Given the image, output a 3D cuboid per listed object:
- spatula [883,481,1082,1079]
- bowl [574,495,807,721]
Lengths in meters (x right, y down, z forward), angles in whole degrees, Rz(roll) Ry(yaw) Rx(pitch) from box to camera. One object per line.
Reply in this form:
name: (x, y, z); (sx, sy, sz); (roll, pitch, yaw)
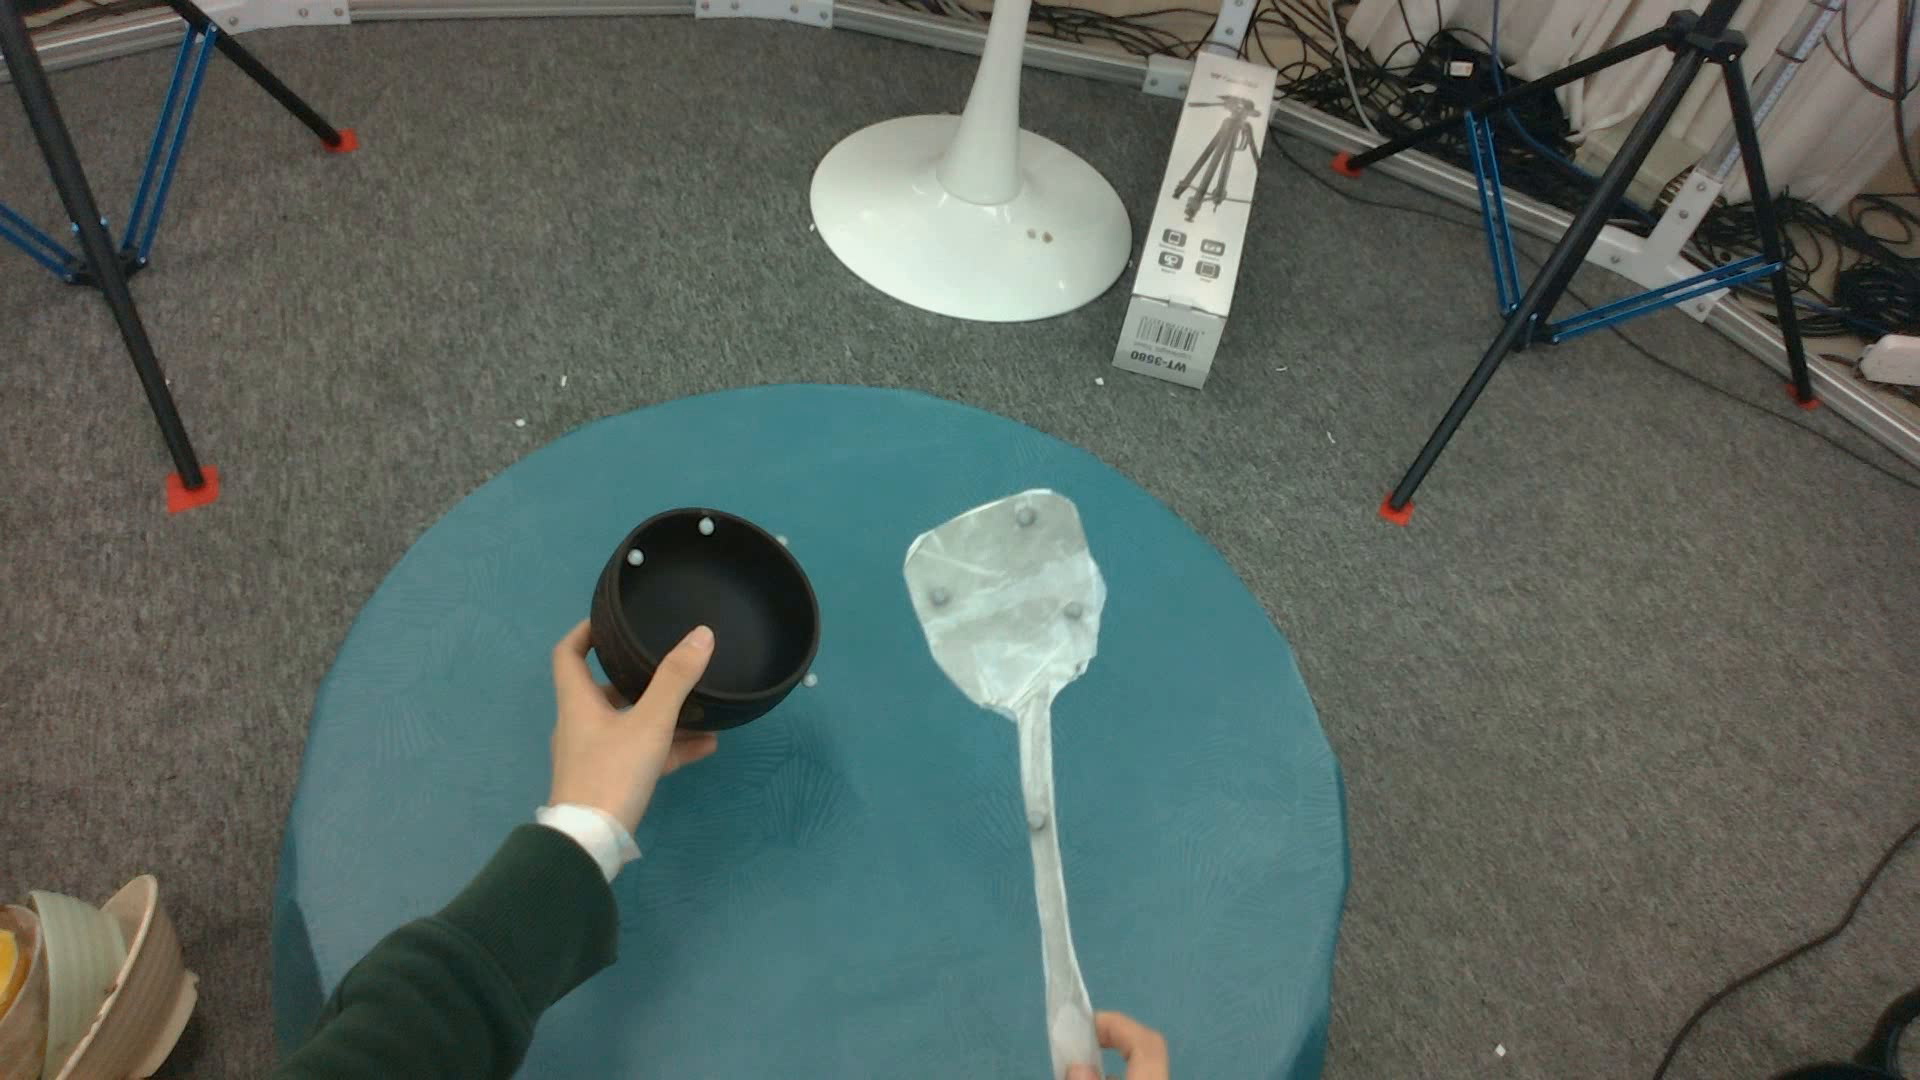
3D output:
spatula: (0.029, 0.142, 0.618); (0.098, 0.045, 0.366); (-18, 59, 19)
bowl: (-0.147, 0.042, 0.728); (0.118, 0.069, 0.118); (19, 50, -24)
